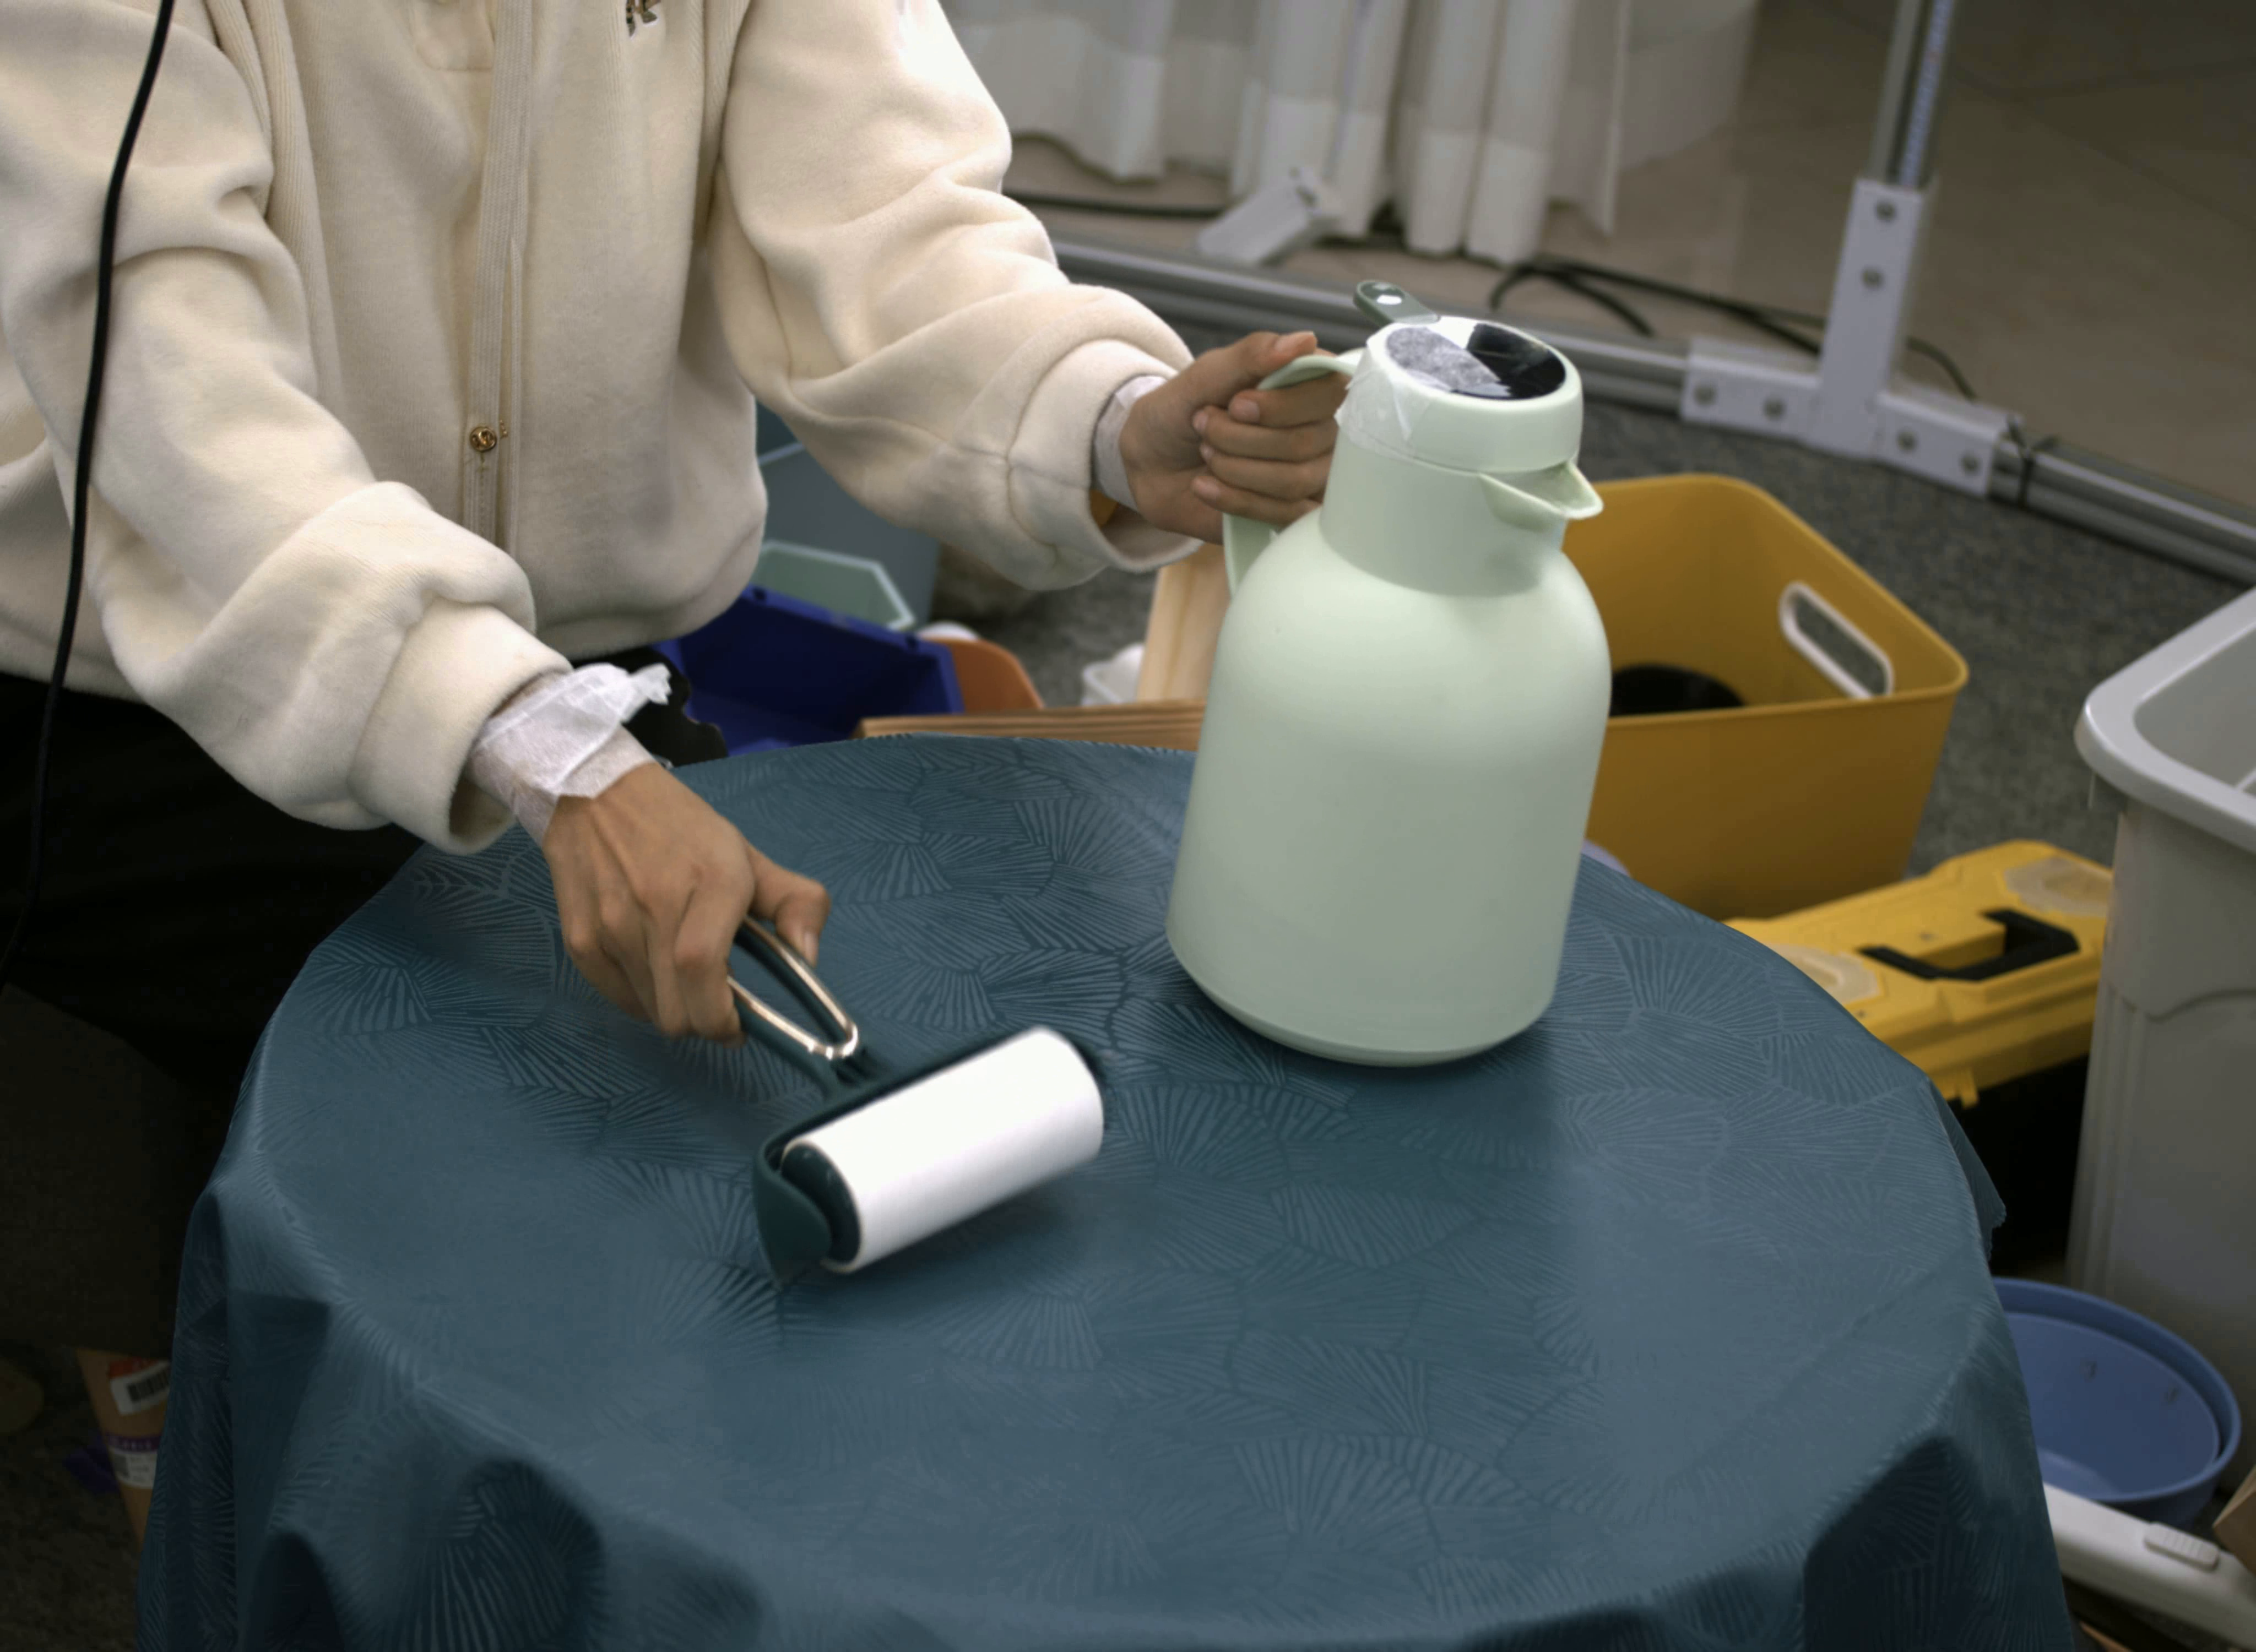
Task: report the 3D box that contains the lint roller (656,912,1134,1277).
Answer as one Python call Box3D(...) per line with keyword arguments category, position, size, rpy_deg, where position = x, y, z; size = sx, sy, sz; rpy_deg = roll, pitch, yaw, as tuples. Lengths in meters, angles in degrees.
Box3D(category="lint roller", position=(-0.102, 0.070, 1.785), size=(0.133, 0.048, 0.181), rpy_deg=(-19, 49, -33))

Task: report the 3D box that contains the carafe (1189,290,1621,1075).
Box3D(category="carafe", position=(0.097, -0.056, 1.898), size=(0.143, 0.256, 0.188), rpy_deg=(-11, 30, -30))
